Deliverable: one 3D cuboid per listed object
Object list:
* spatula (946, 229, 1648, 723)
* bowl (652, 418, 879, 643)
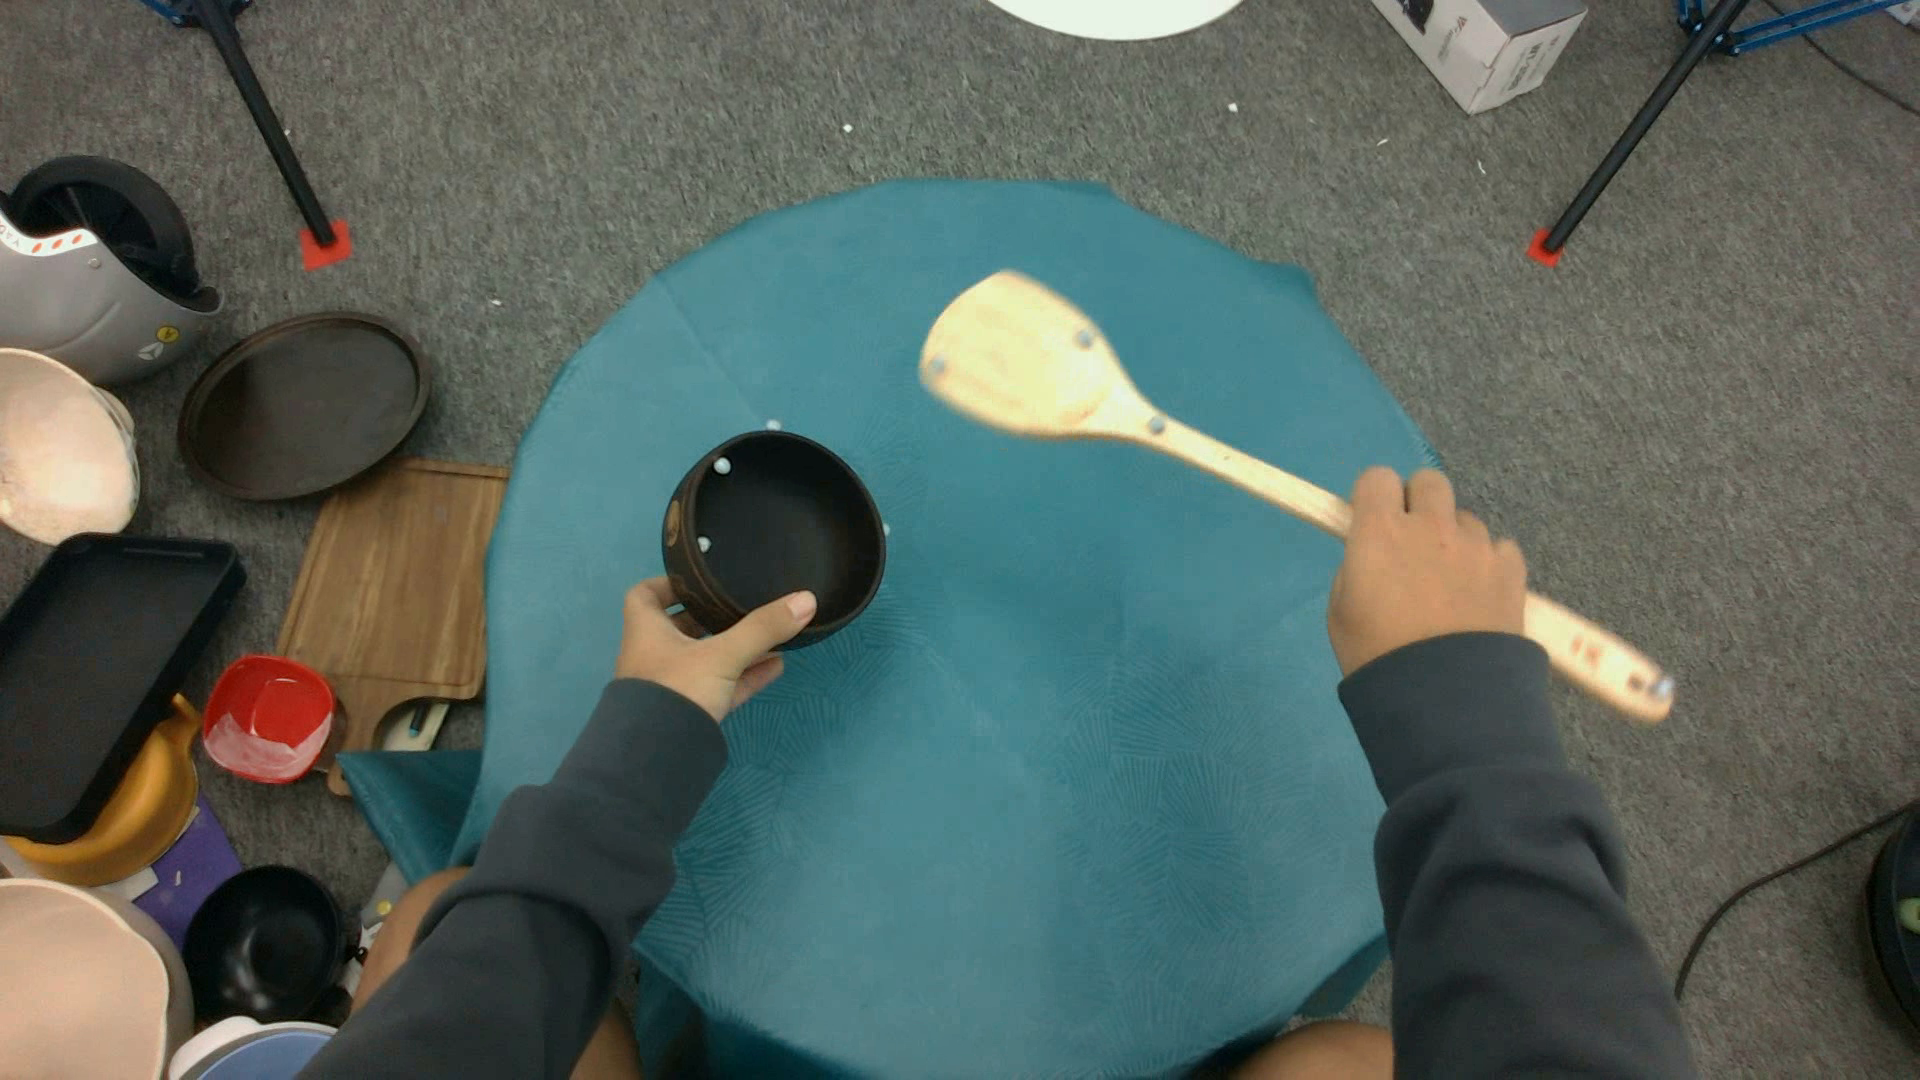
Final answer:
[{"bbox_3d":[0.163,-0.033,0.678,0.391,0.018,0.096,34,58,12],"label":"spatula"},{"bbox_3d":[-0.110,0.000,0.738,0.118,0.069,0.118,13,65,-31],"label":"bowl"}]
